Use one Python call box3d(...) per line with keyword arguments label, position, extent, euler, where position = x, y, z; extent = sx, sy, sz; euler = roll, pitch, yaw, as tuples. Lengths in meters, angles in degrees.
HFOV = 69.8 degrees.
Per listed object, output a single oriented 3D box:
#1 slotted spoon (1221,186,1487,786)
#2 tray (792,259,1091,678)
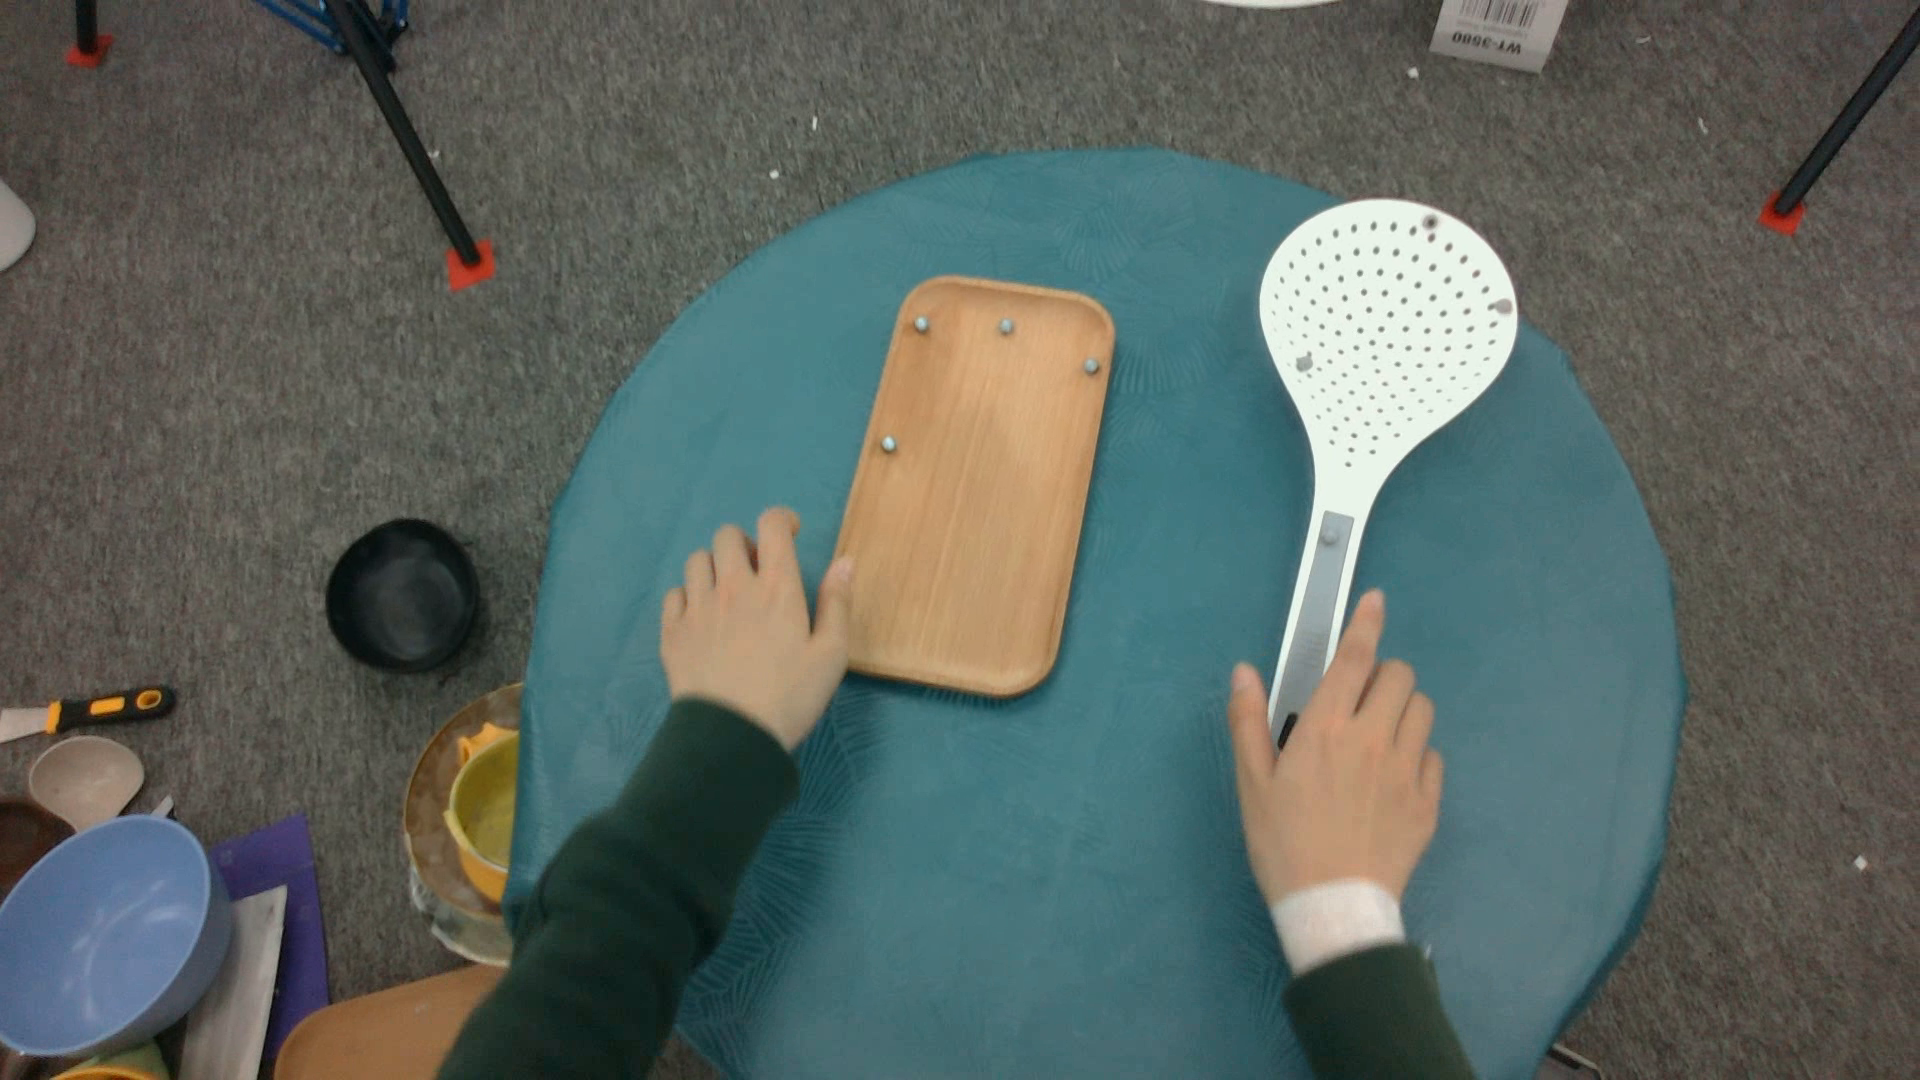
box3d(label="slotted spoon", position=(0.191, -0.039, 0.731), extent=(0.136, 0.045, 0.351), euler=(14, 65, 10))
box3d(label="tray", position=(-0.006, -0.046, 0.755), extent=(0.130, 0.023, 0.251), euler=(9, 65, 8))
